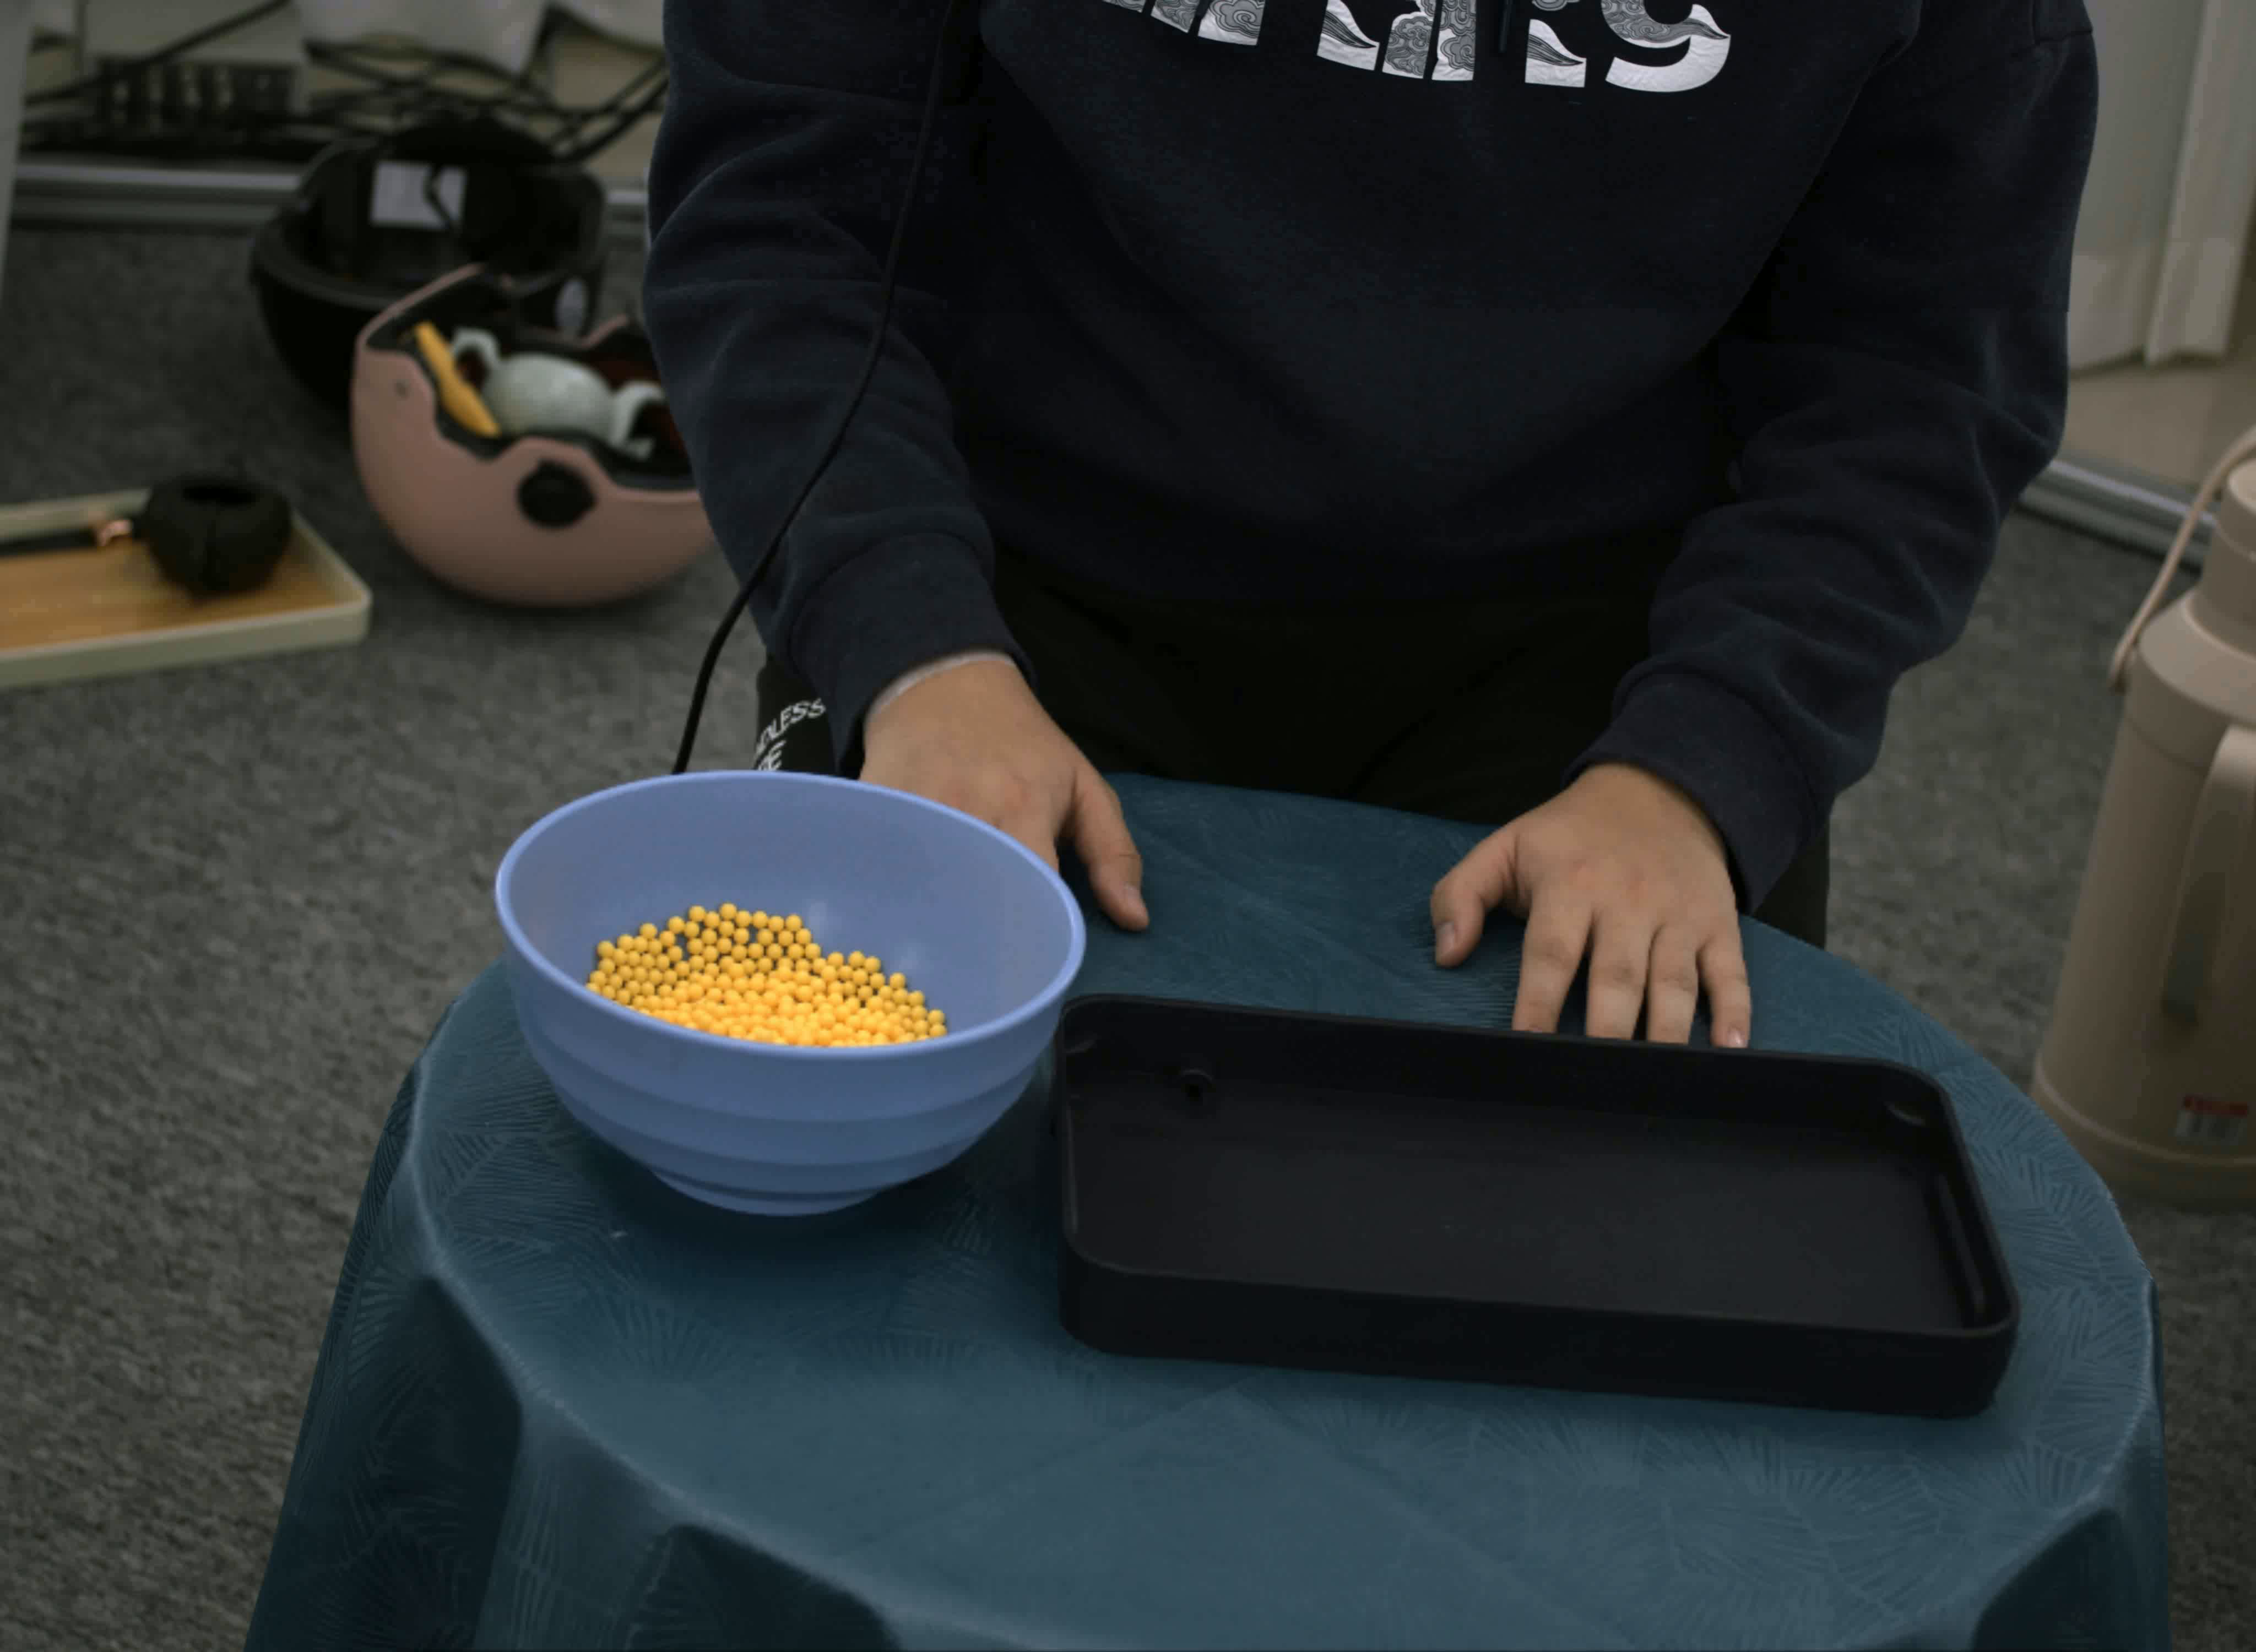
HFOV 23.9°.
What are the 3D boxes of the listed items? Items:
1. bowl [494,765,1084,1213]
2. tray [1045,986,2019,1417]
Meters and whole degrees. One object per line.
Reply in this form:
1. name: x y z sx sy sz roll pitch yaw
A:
1. bowl: -0.117 0.066 1.785 0.196 0.095 0.198 5 28 -3
2. tray: 0.129 0.125 1.792 0.317 0.037 0.185 5 27 -4
